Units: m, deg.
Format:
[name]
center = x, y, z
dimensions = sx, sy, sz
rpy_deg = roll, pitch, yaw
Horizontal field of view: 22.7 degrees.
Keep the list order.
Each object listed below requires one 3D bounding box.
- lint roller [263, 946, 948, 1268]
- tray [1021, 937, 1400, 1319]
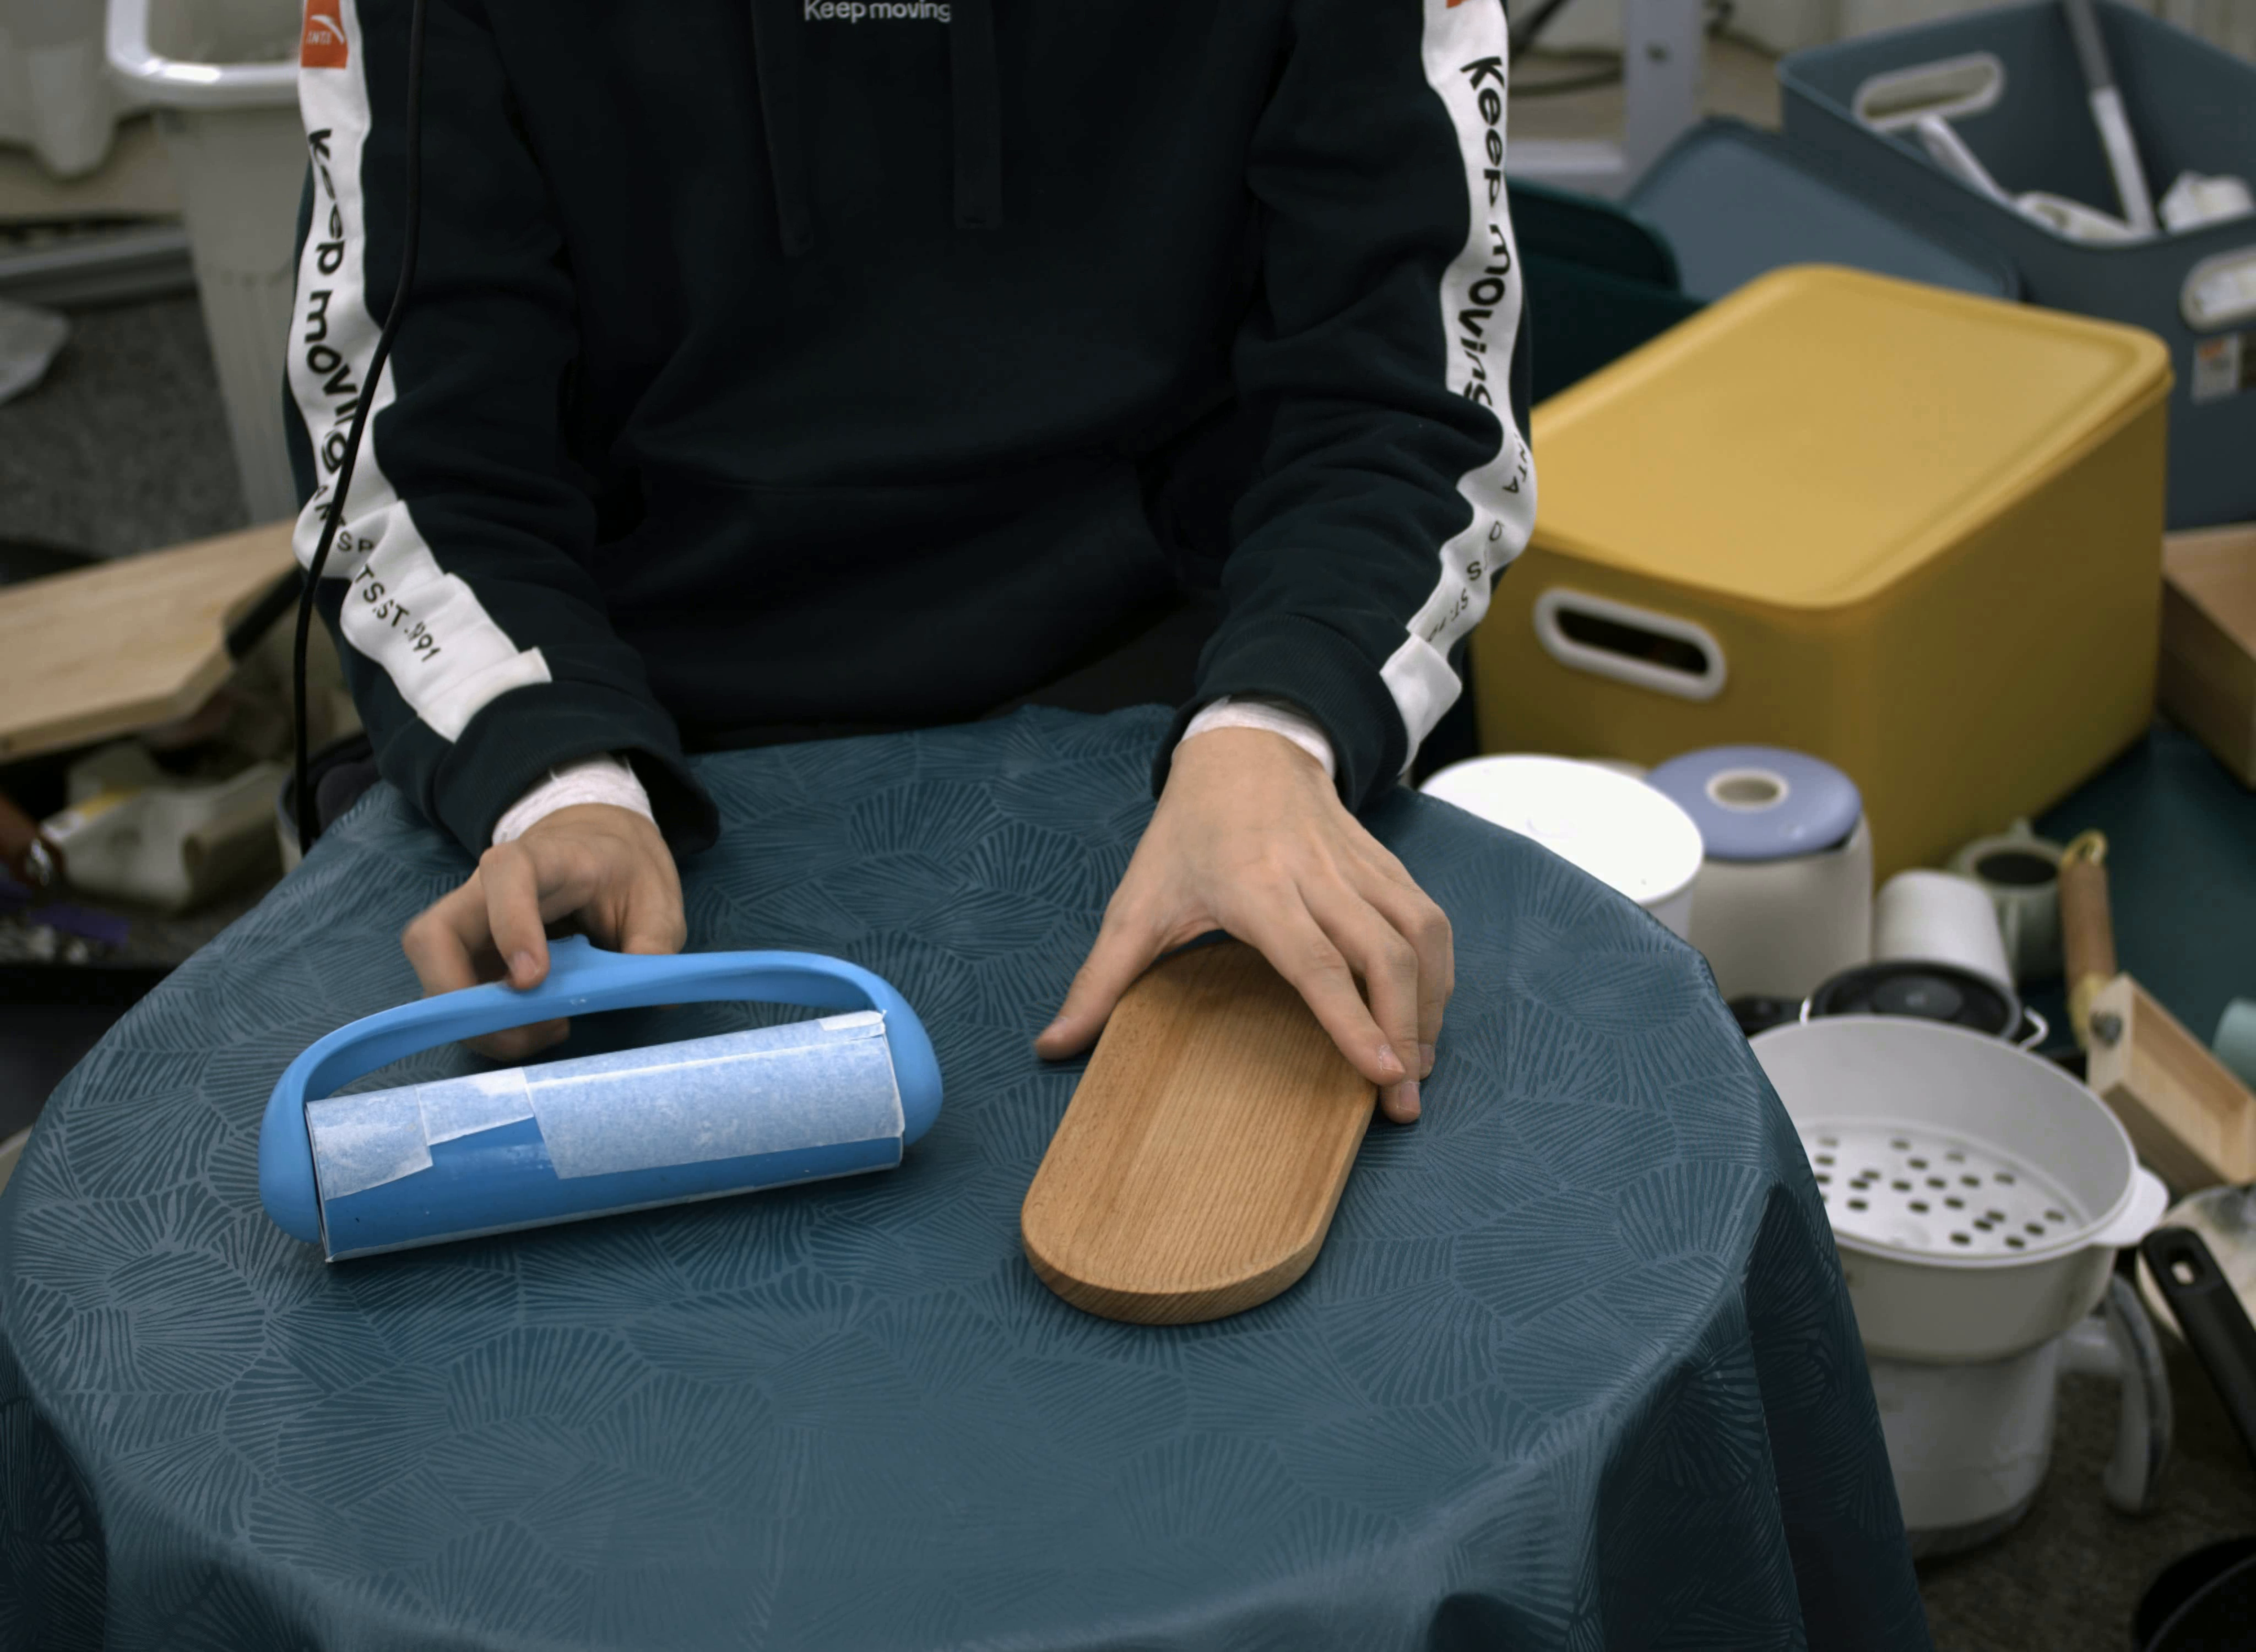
[lint roller]
center = -0.188, 0.076, 1.905
dimensions = 0.229, 0.067, 0.182
rpy_deg = -11, 29, -13
[tray]
center = 0.030, 0.099, 1.884
dimensions = 0.101, 0.020, 0.235
rpy_deg = 4, 27, 11
